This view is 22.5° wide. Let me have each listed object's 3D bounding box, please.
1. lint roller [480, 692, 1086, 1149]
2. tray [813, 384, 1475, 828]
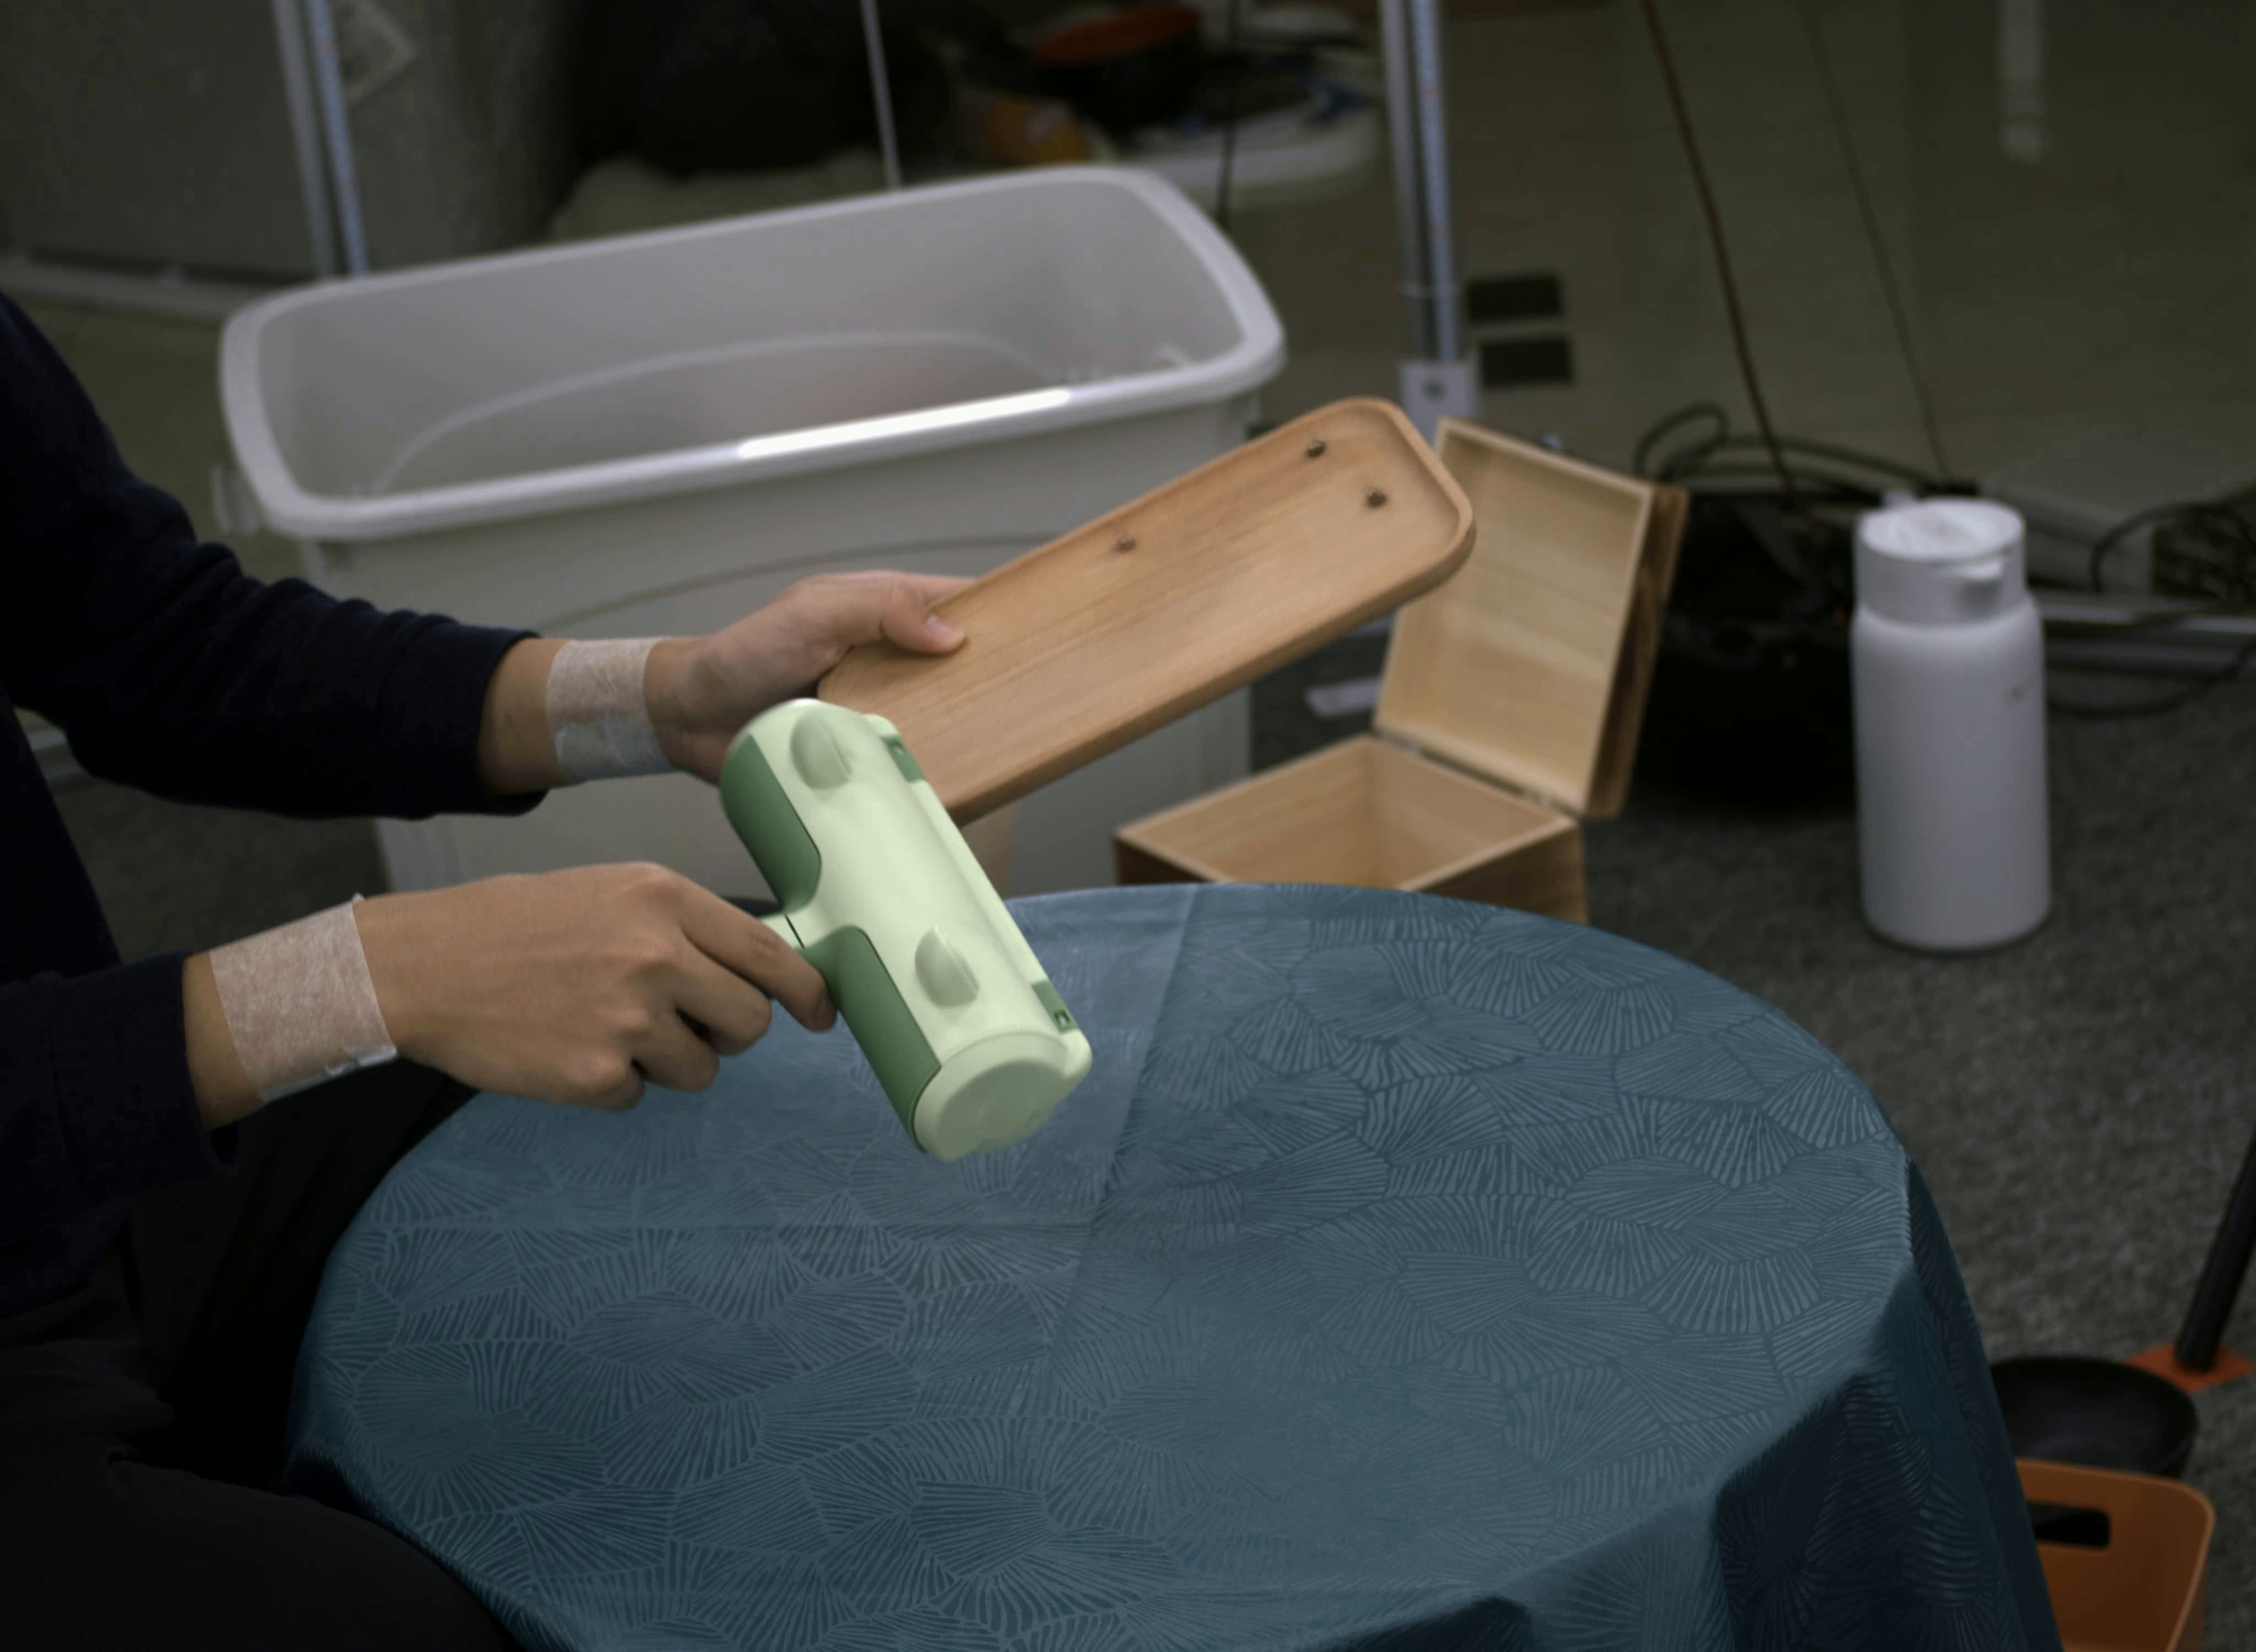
[{"bbox_3d":[-0.133,0.032,1.952,0.183,0.084,0.195,-8,45,-29],"label":"lint roller"},{"bbox_3d":[0.005,-0.083,2.122,0.250,0.023,0.128,-27,36,-1],"label":"tray"}]
